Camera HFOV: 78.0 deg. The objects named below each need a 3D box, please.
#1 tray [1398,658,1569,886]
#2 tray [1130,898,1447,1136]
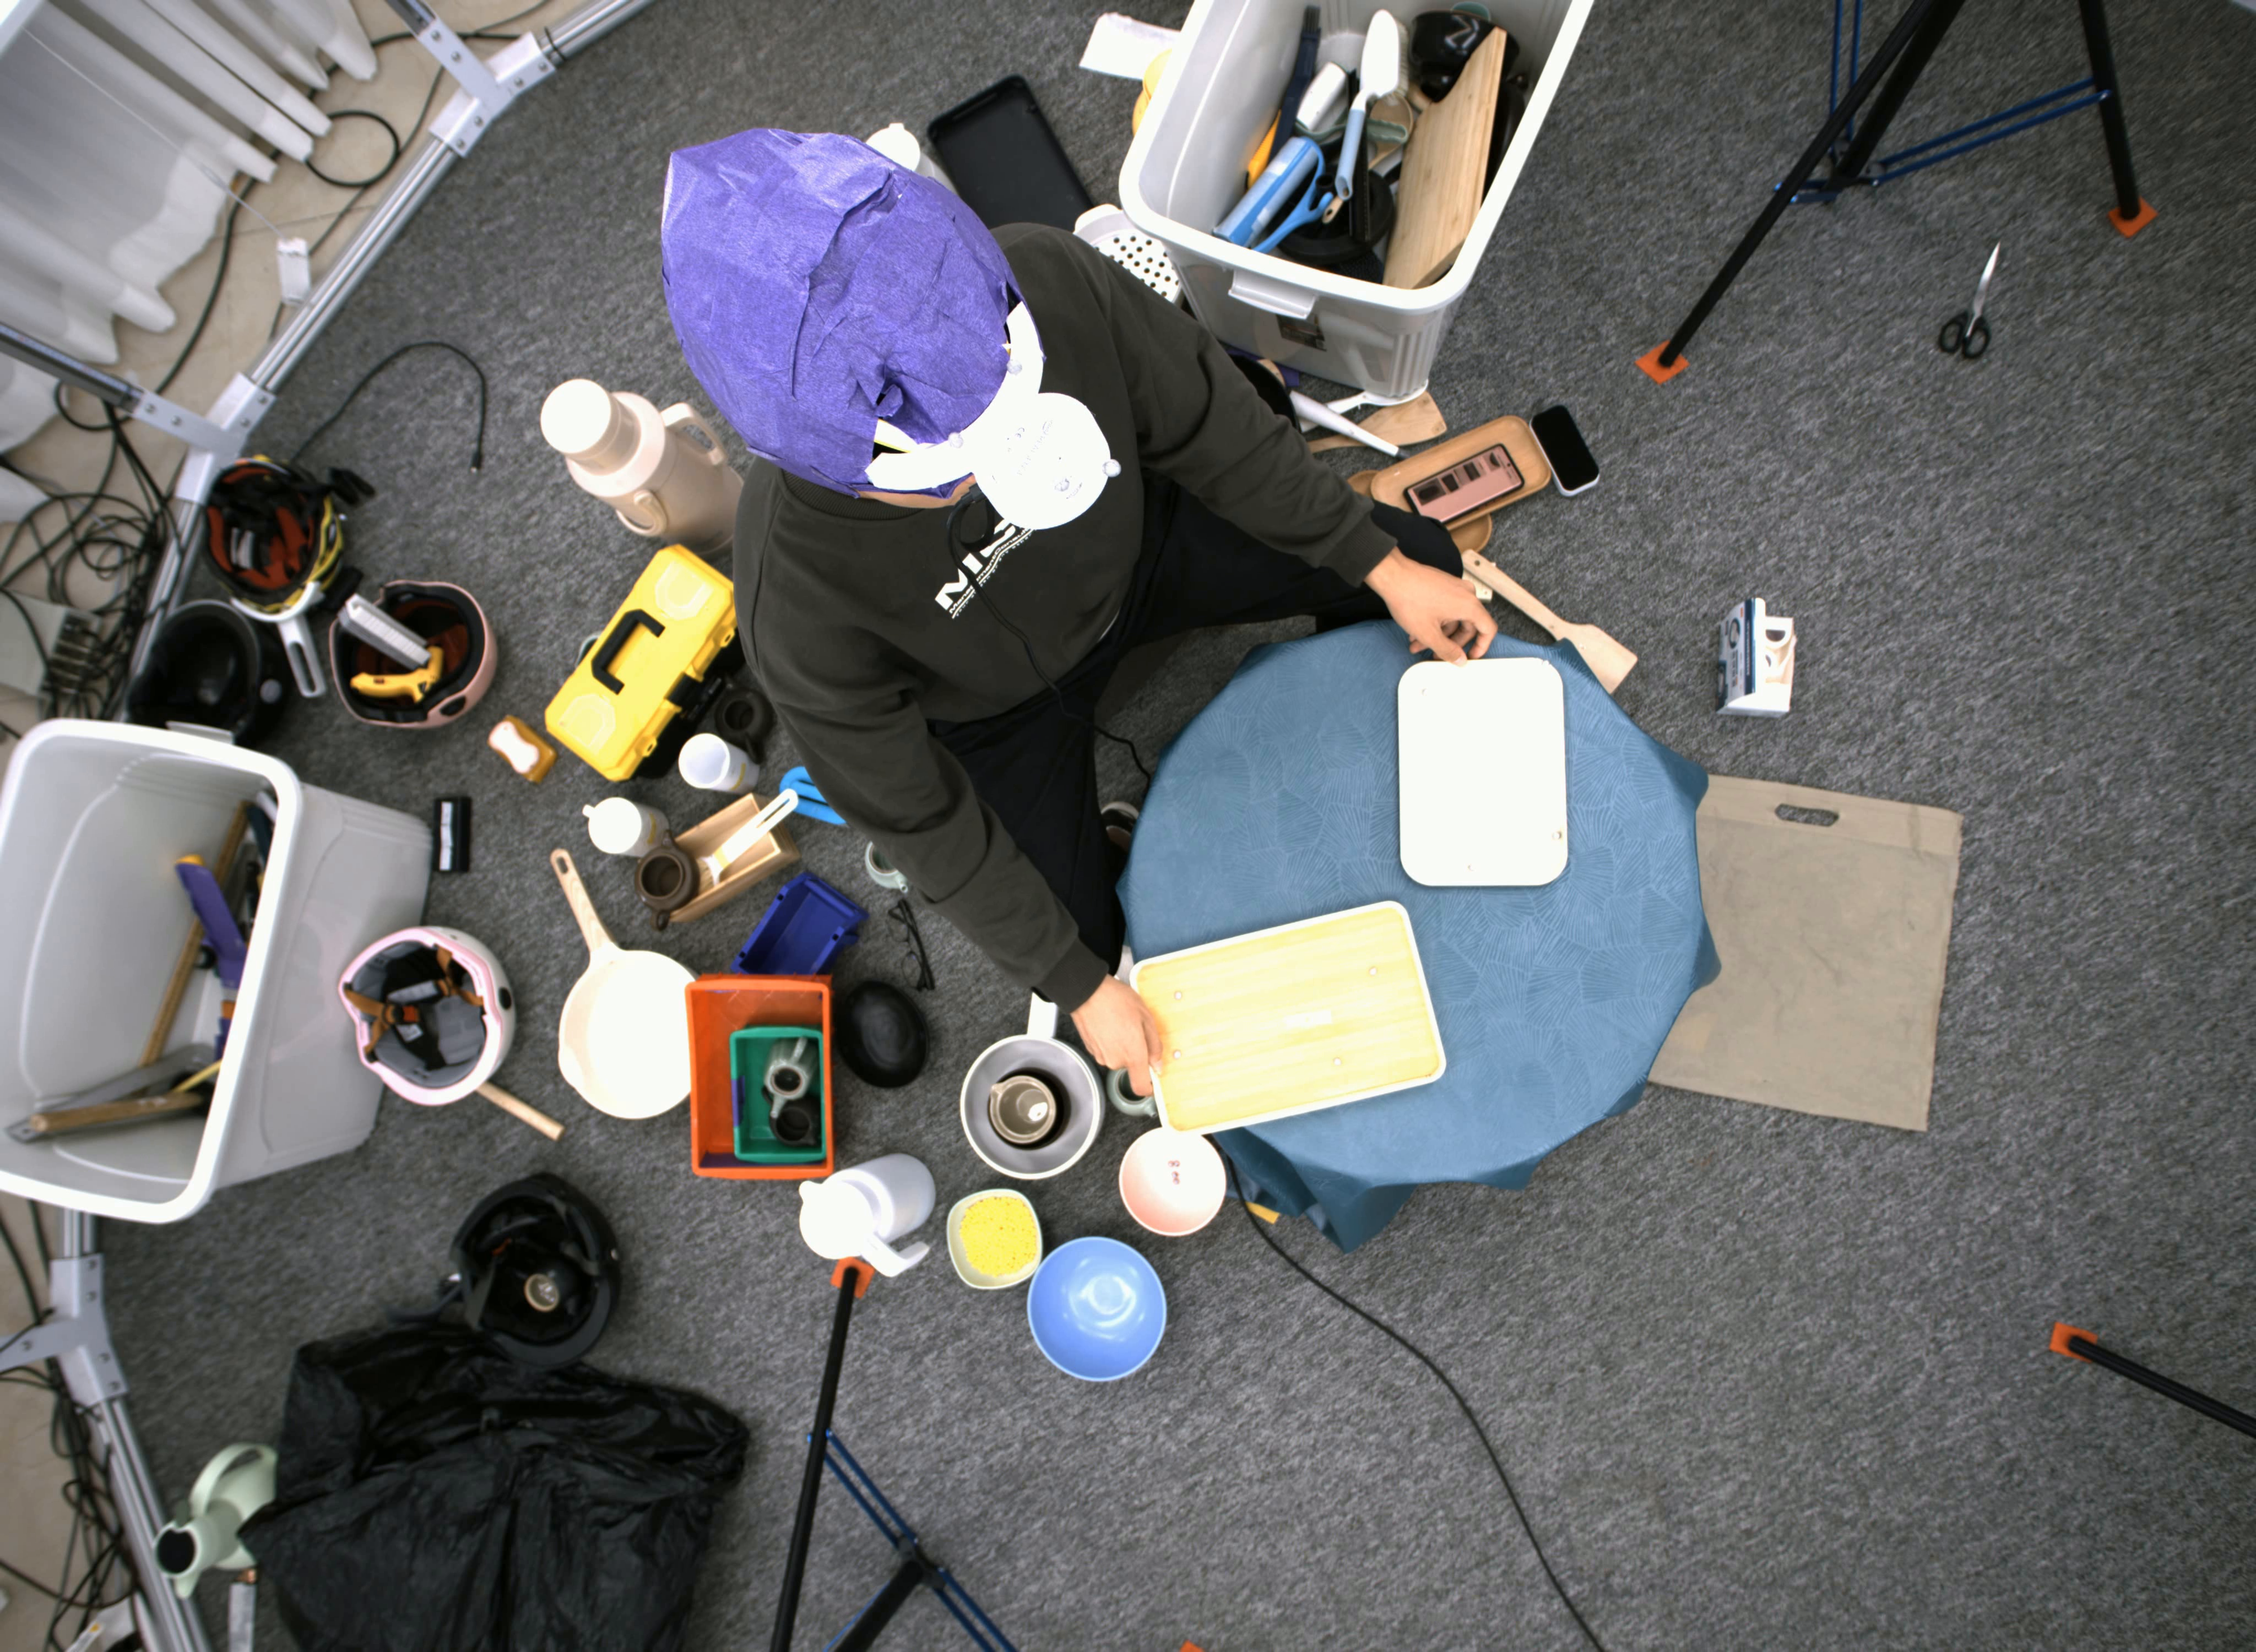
[{"bbox_3d":[0.371,-0.059,1.440,0.172,0.017,0.238,-1,86,11],"label":"tray"},{"bbox_3d":[0.166,0.199,1.453,0.302,0.027,0.190,-15,82,8],"label":"tray"}]
